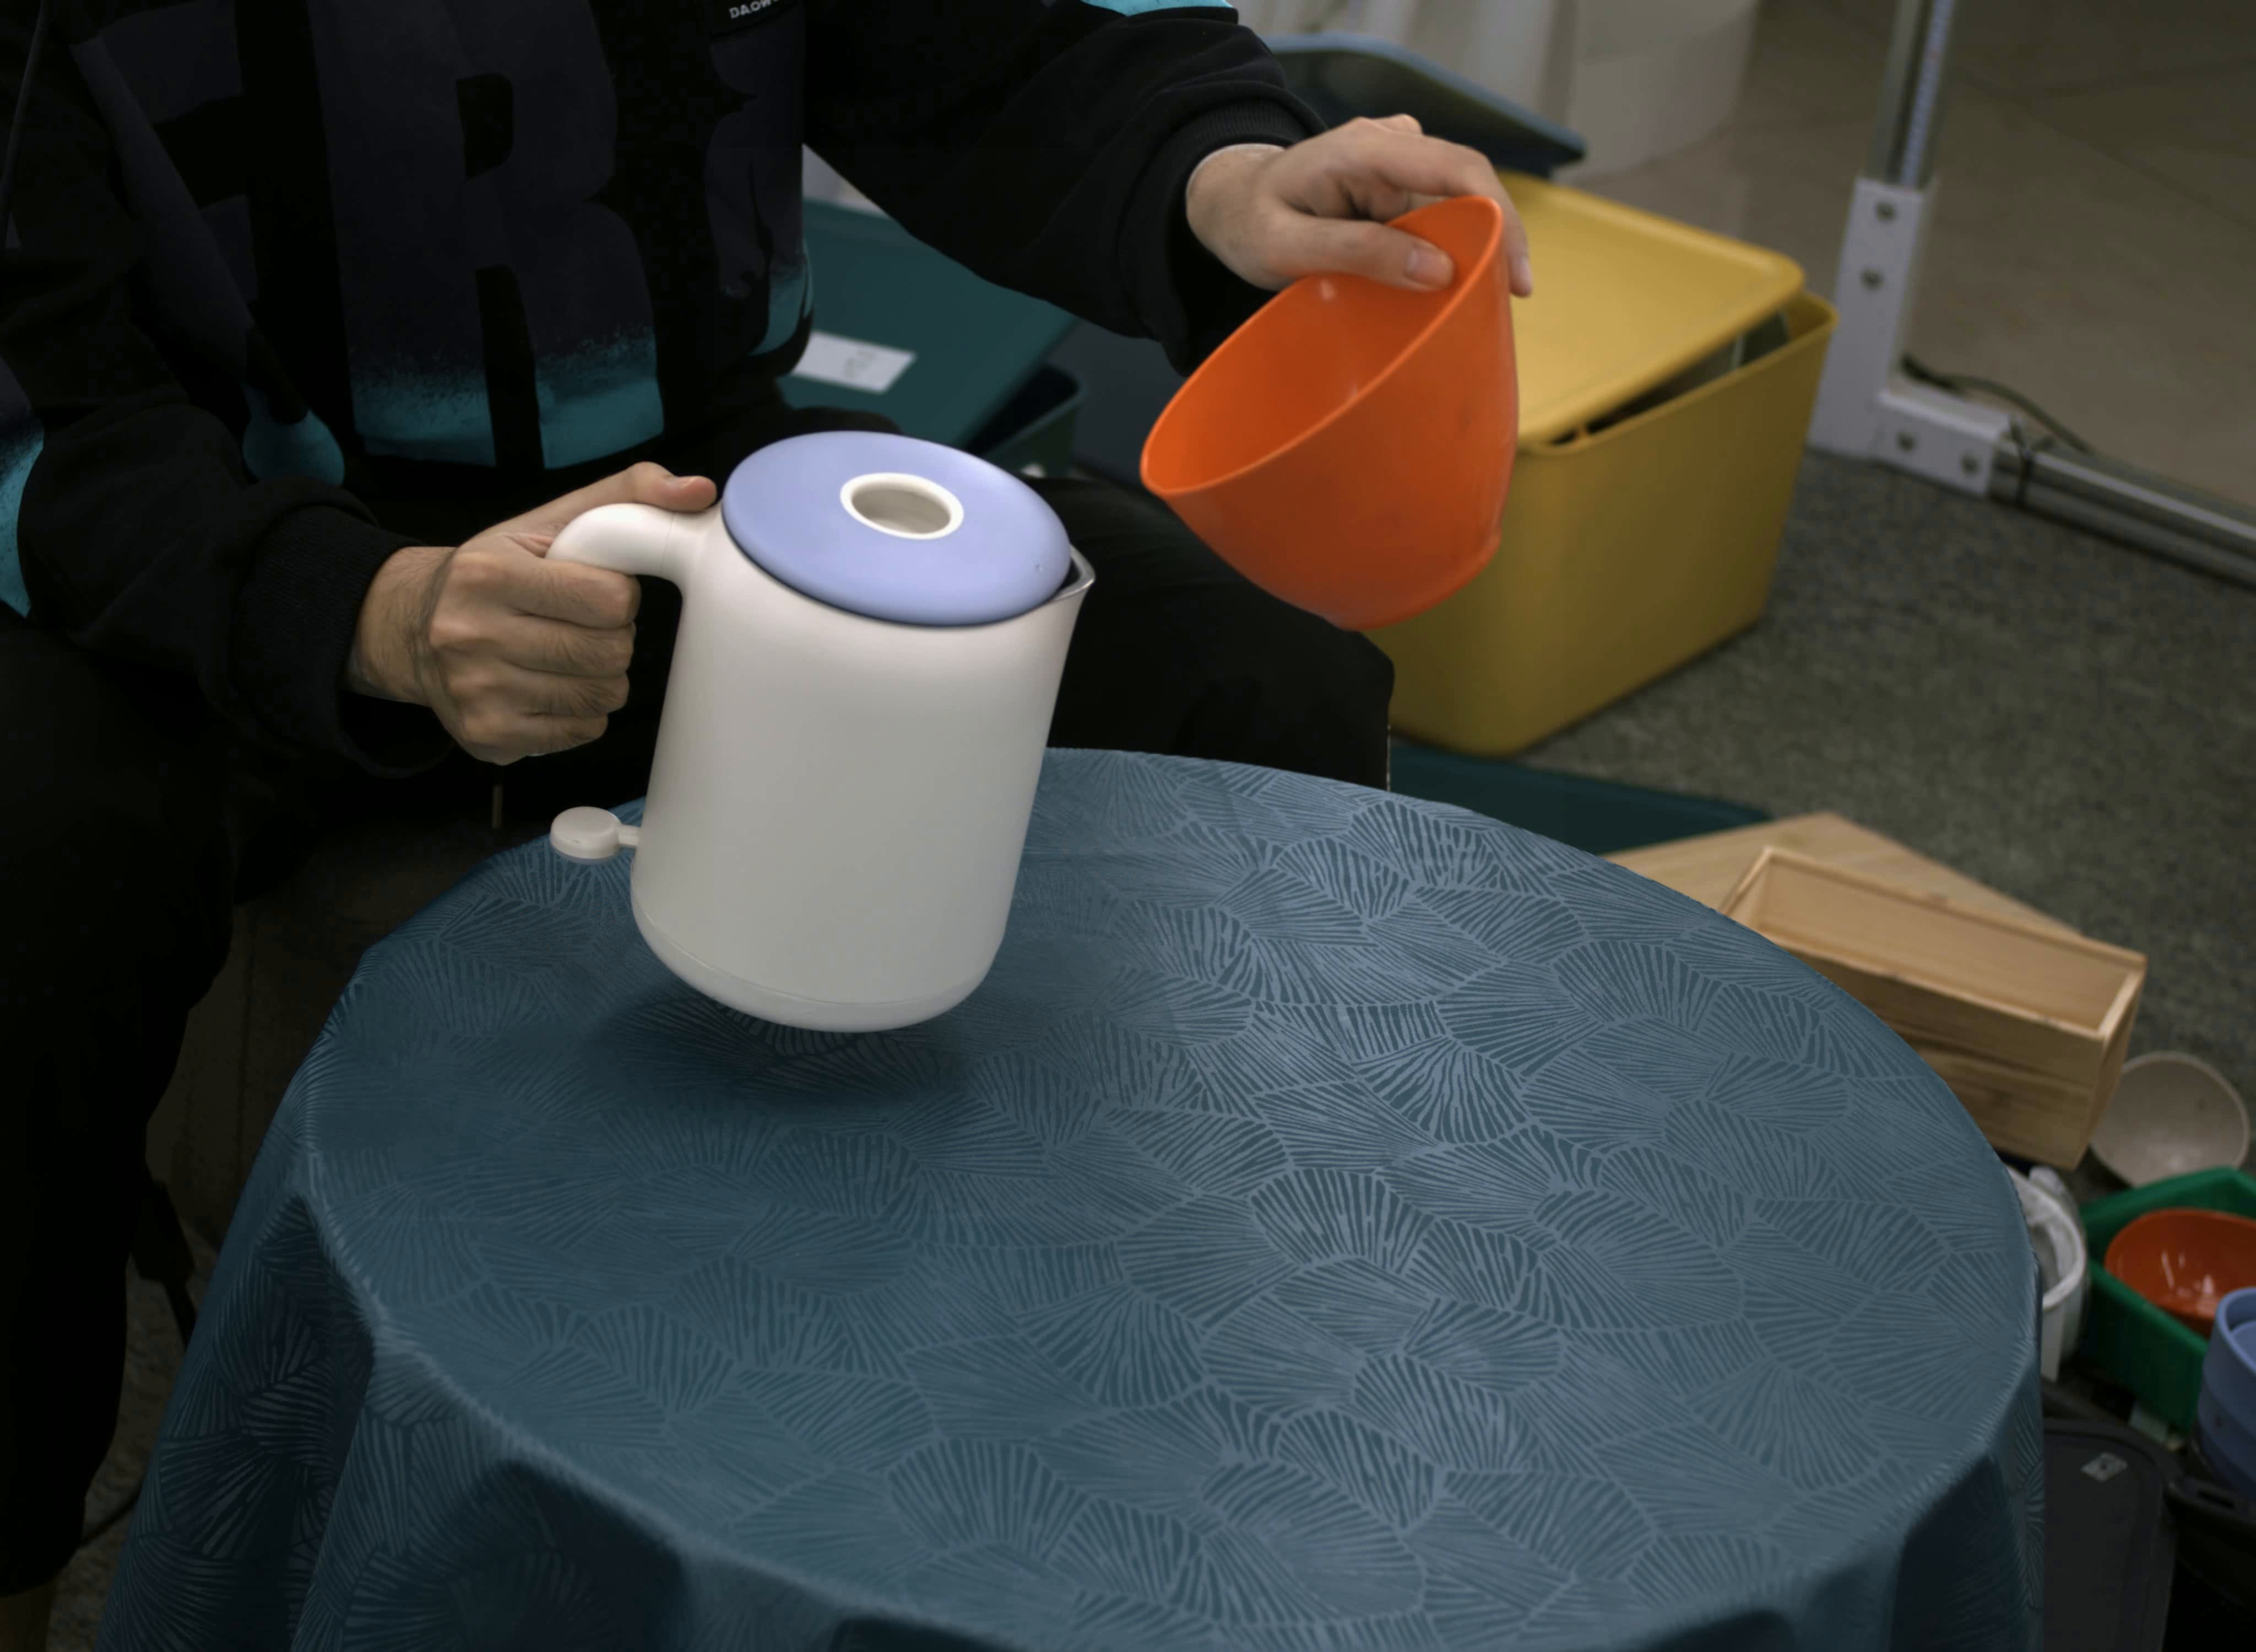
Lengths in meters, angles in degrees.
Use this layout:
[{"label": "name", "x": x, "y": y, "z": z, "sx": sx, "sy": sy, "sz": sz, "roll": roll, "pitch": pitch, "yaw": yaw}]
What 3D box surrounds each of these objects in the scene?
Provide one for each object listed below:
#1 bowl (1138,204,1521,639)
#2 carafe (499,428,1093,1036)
[{"label": "bowl", "x": 0.082, "y": -0.125, "z": 1.765, "sx": 0.148, "sy": 0.104, "sz": 0.149, "roll": -25, "pitch": 25, "yaw": 12}, {"label": "carafe", "x": -0.117, "y": -0.036, "z": 1.811, "sx": 0.190, "sy": 0.182, "sz": 0.133, "roll": 9, "pitch": 30, "yaw": -1}]
